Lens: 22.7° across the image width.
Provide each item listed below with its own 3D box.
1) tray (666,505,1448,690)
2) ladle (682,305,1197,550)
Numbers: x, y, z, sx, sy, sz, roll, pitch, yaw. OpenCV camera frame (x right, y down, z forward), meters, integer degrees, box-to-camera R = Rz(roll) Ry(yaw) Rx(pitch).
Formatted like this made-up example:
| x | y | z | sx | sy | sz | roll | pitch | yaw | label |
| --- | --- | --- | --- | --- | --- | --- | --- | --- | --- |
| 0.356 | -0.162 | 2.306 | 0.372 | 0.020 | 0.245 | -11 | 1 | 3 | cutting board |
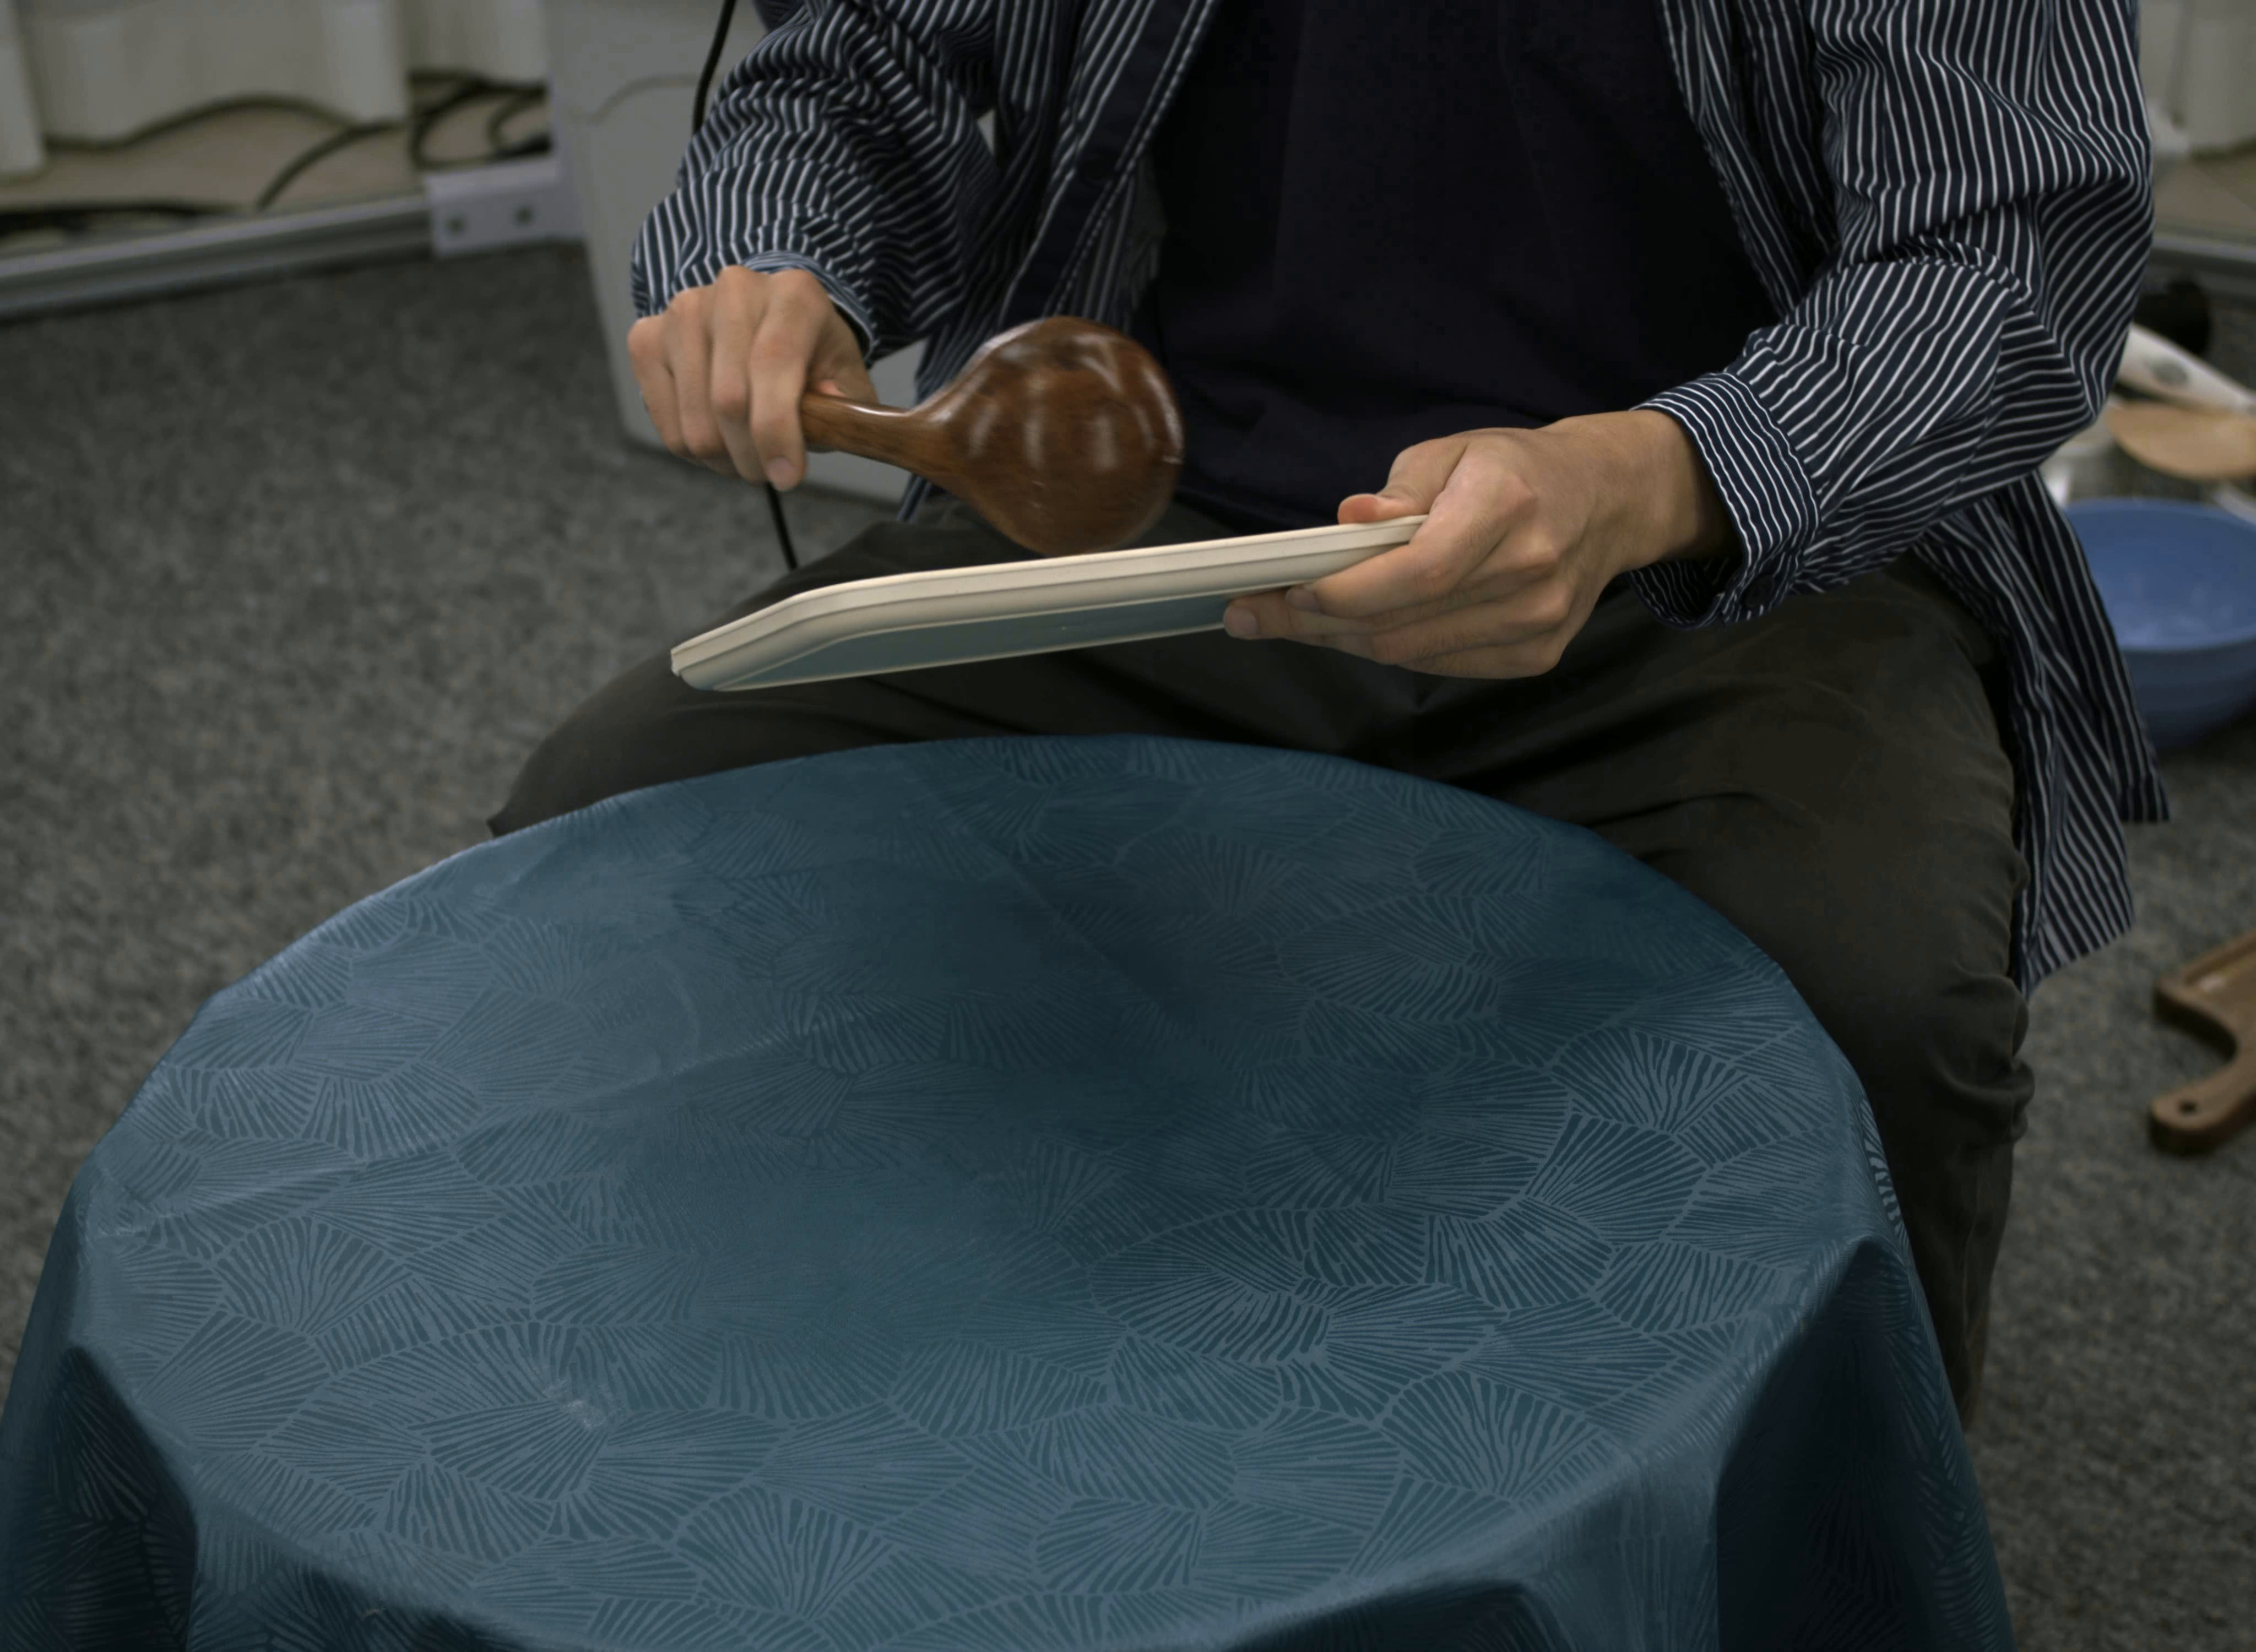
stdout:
| x | y | z | sx | sy | sz | roll | pitch | yaw | label |
| --- | --- | --- | --- | --- | --- | --- | --- | --- | --- |
| -0.023 | -0.074 | 1.880 | 0.240 | 0.017 | 0.169 | -8 | -4 | -26 | tray |
| -0.068 | -0.144 | 1.979 | 0.077 | 0.082 | 0.273 | -2 | 7 | -28 | ladle |
